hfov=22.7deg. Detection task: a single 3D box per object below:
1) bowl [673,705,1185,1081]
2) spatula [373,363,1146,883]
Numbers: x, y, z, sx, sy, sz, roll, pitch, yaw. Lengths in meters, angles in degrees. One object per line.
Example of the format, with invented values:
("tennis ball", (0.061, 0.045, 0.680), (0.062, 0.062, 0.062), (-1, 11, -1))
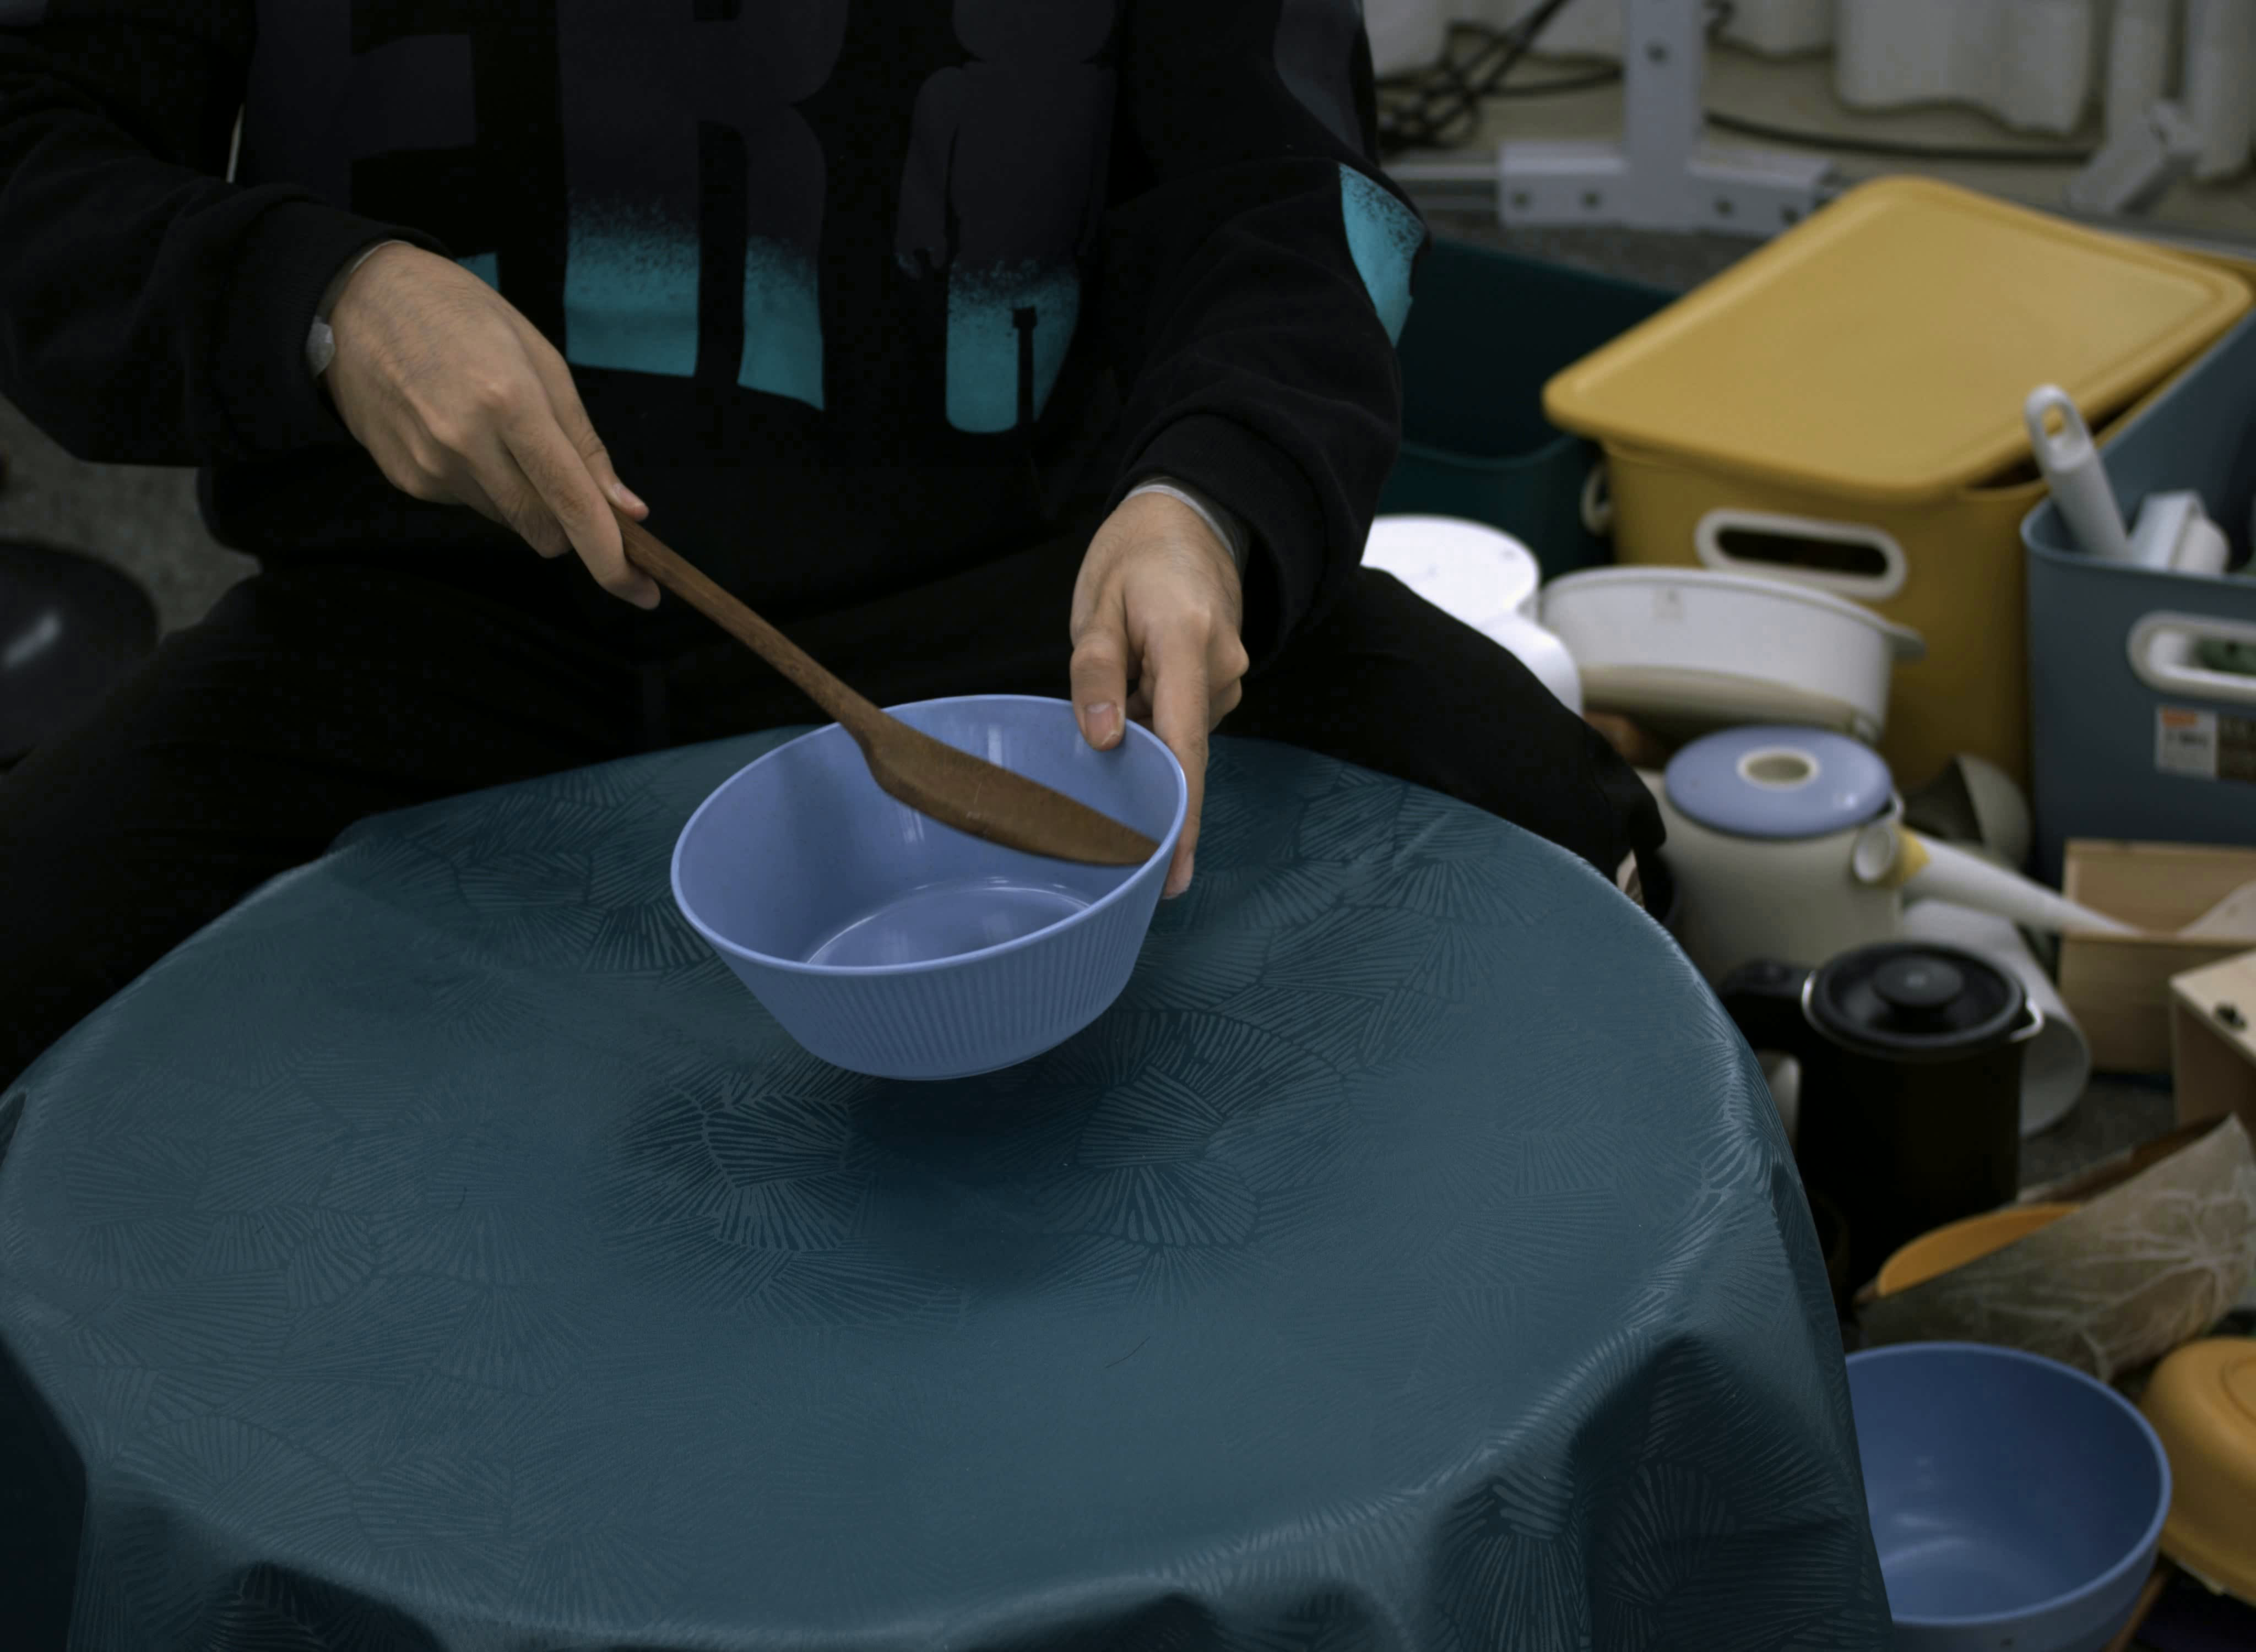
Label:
("bowl", (-0.062, 0.029, 1.897), (0.175, 0.069, 0.179), (-7, 28, 4))
("spatula", (-0.141, -0.075, 1.958), (0.387, 0.015, 0.096), (36, 18, 34))
